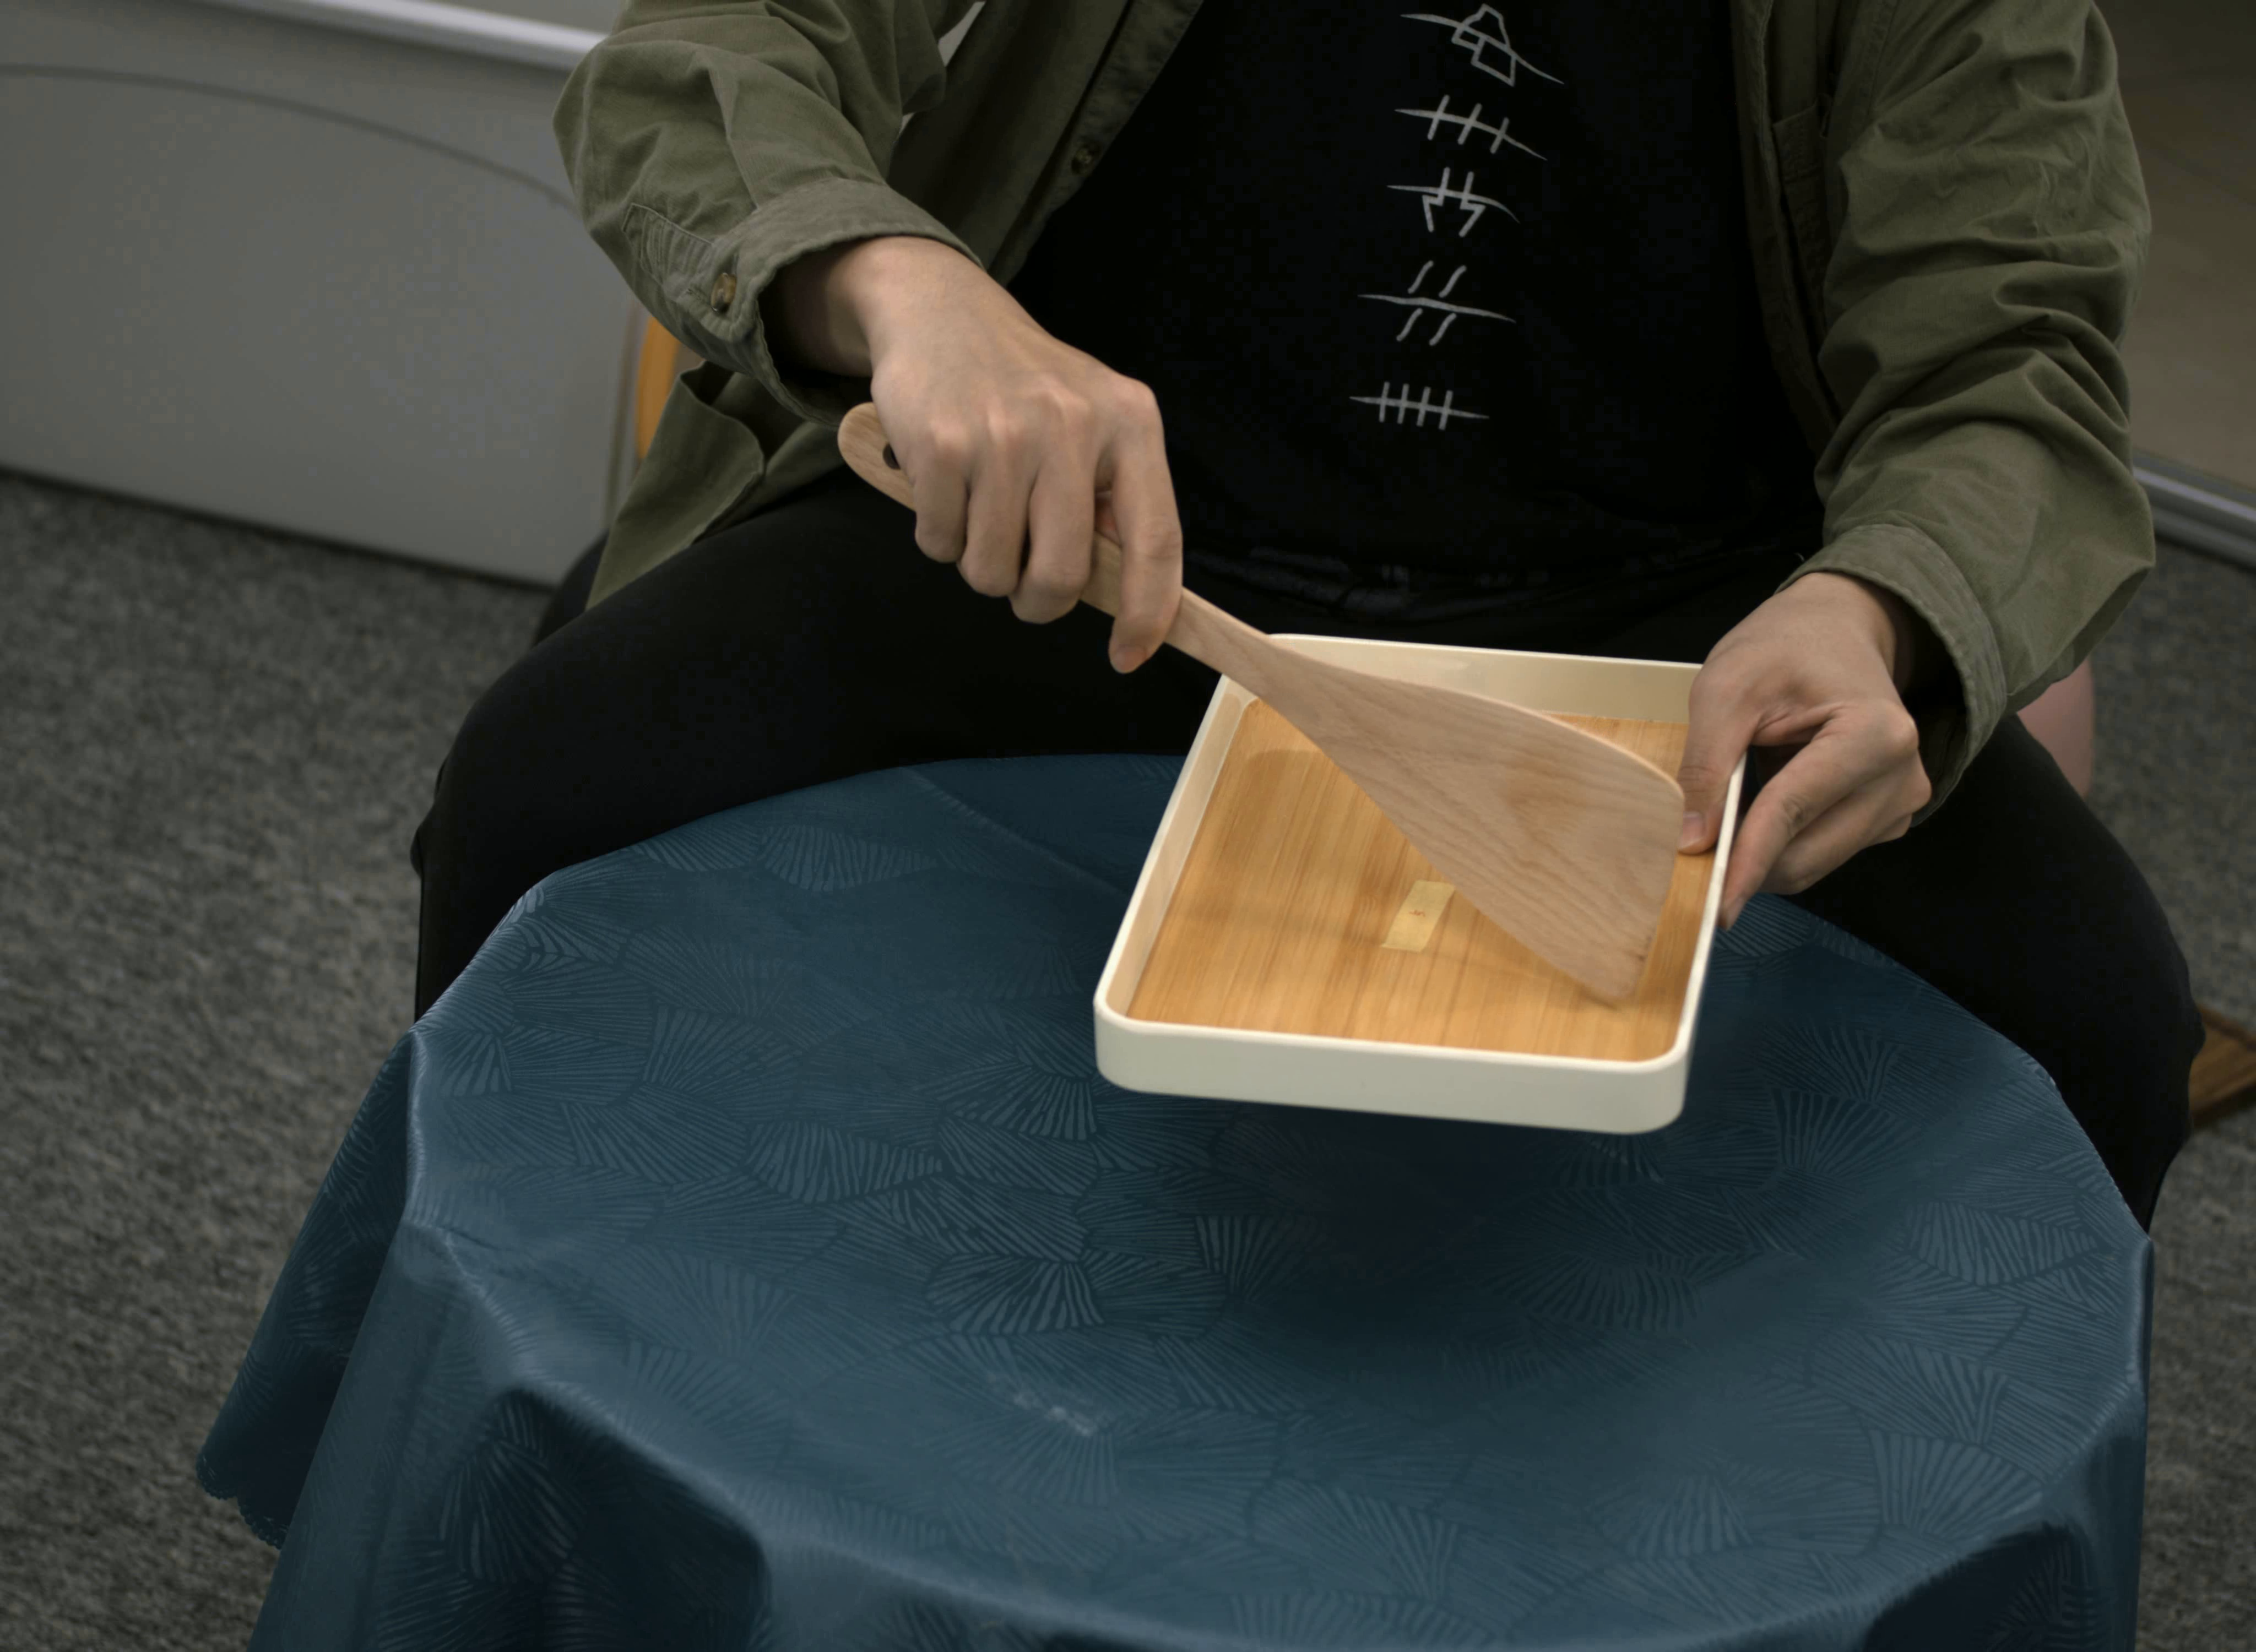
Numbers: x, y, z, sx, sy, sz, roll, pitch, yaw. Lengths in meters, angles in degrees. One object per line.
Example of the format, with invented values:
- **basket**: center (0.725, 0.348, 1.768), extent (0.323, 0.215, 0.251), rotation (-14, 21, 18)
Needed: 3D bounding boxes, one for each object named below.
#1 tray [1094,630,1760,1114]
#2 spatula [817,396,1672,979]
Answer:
- **tray**: center (0.107, 0.010, 1.802), extent (0.191, 0.027, 0.301), rotation (5, 26, 10)
- **spatula**: center (0.035, -0.059, 1.751), extent (0.328, 0.080, 0.016), rotation (29, 26, 13)
